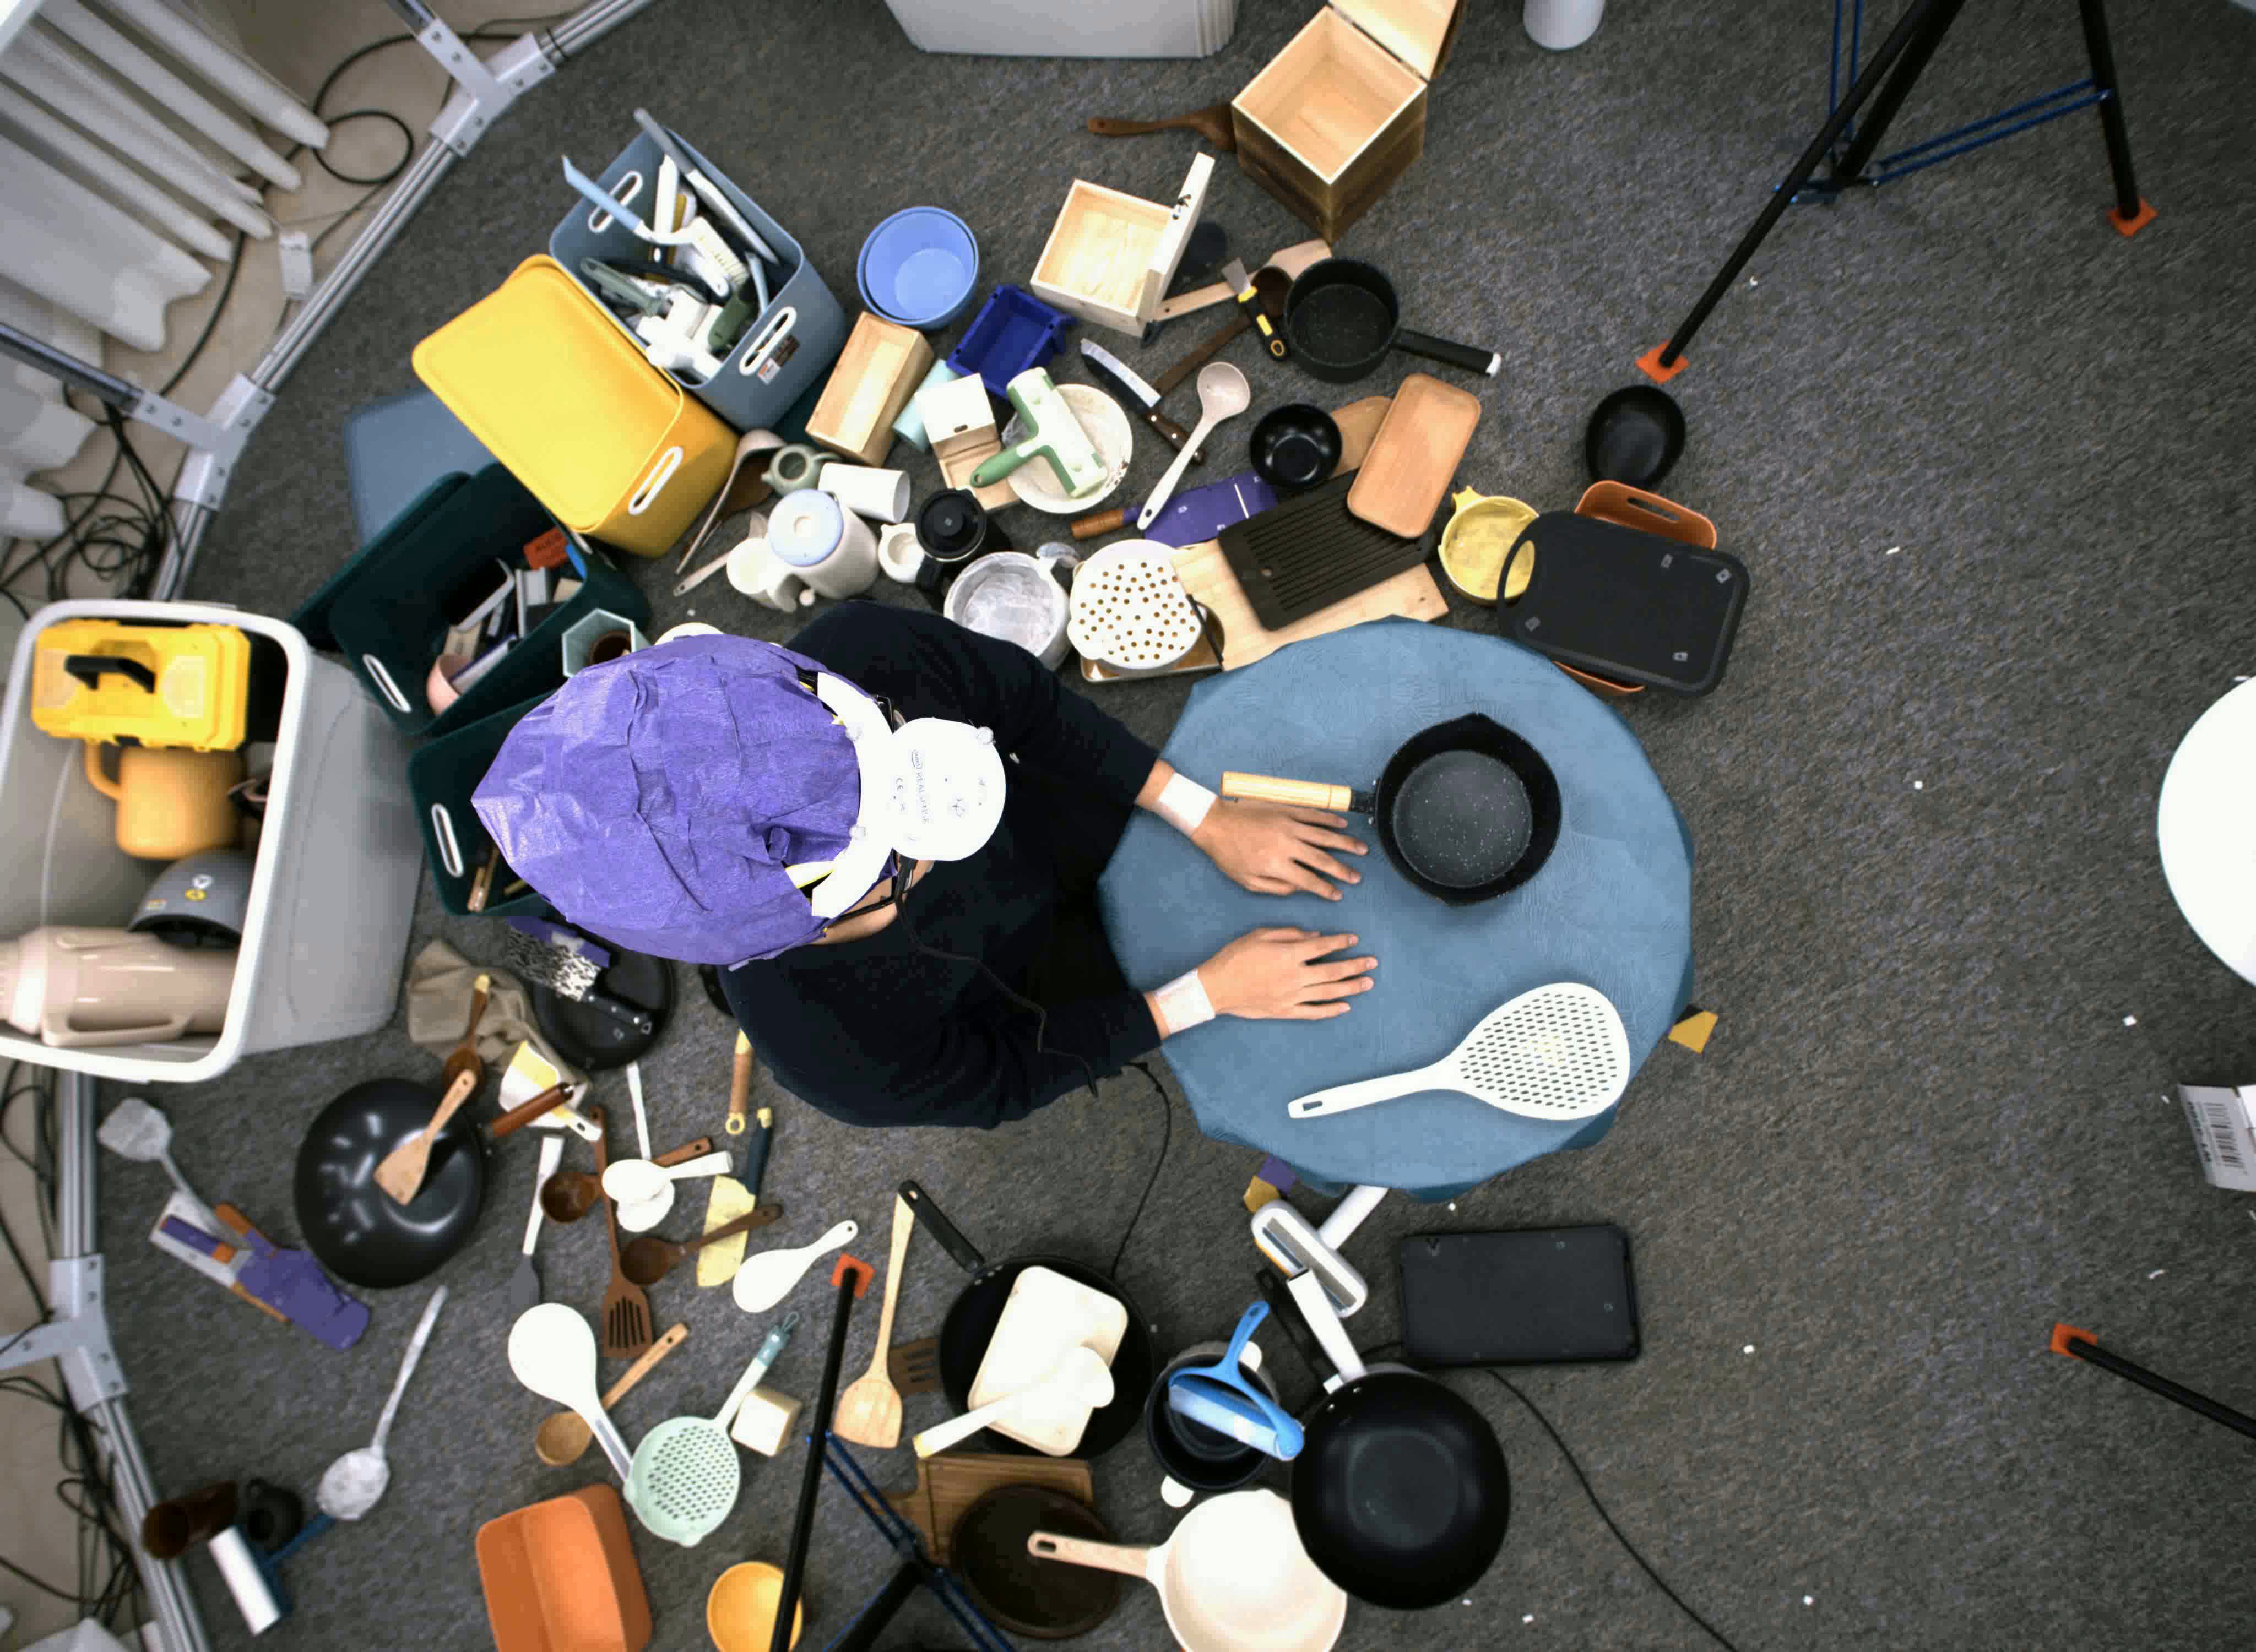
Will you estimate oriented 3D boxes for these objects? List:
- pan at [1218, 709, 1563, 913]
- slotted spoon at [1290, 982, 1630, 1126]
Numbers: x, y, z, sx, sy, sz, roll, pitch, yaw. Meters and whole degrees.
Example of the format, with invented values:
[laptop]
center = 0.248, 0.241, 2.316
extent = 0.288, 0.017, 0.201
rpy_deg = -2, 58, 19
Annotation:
[pan]
center = 0.265, -0.021, 1.411
extent = 0.344, 0.108, 0.207
rpy_deg = 5, 88, 10
[slotted spoon]
center = 0.334, 0.253, 1.416
extent = 0.349, 0.050, 0.136
rpy_deg = -15, 86, 8
